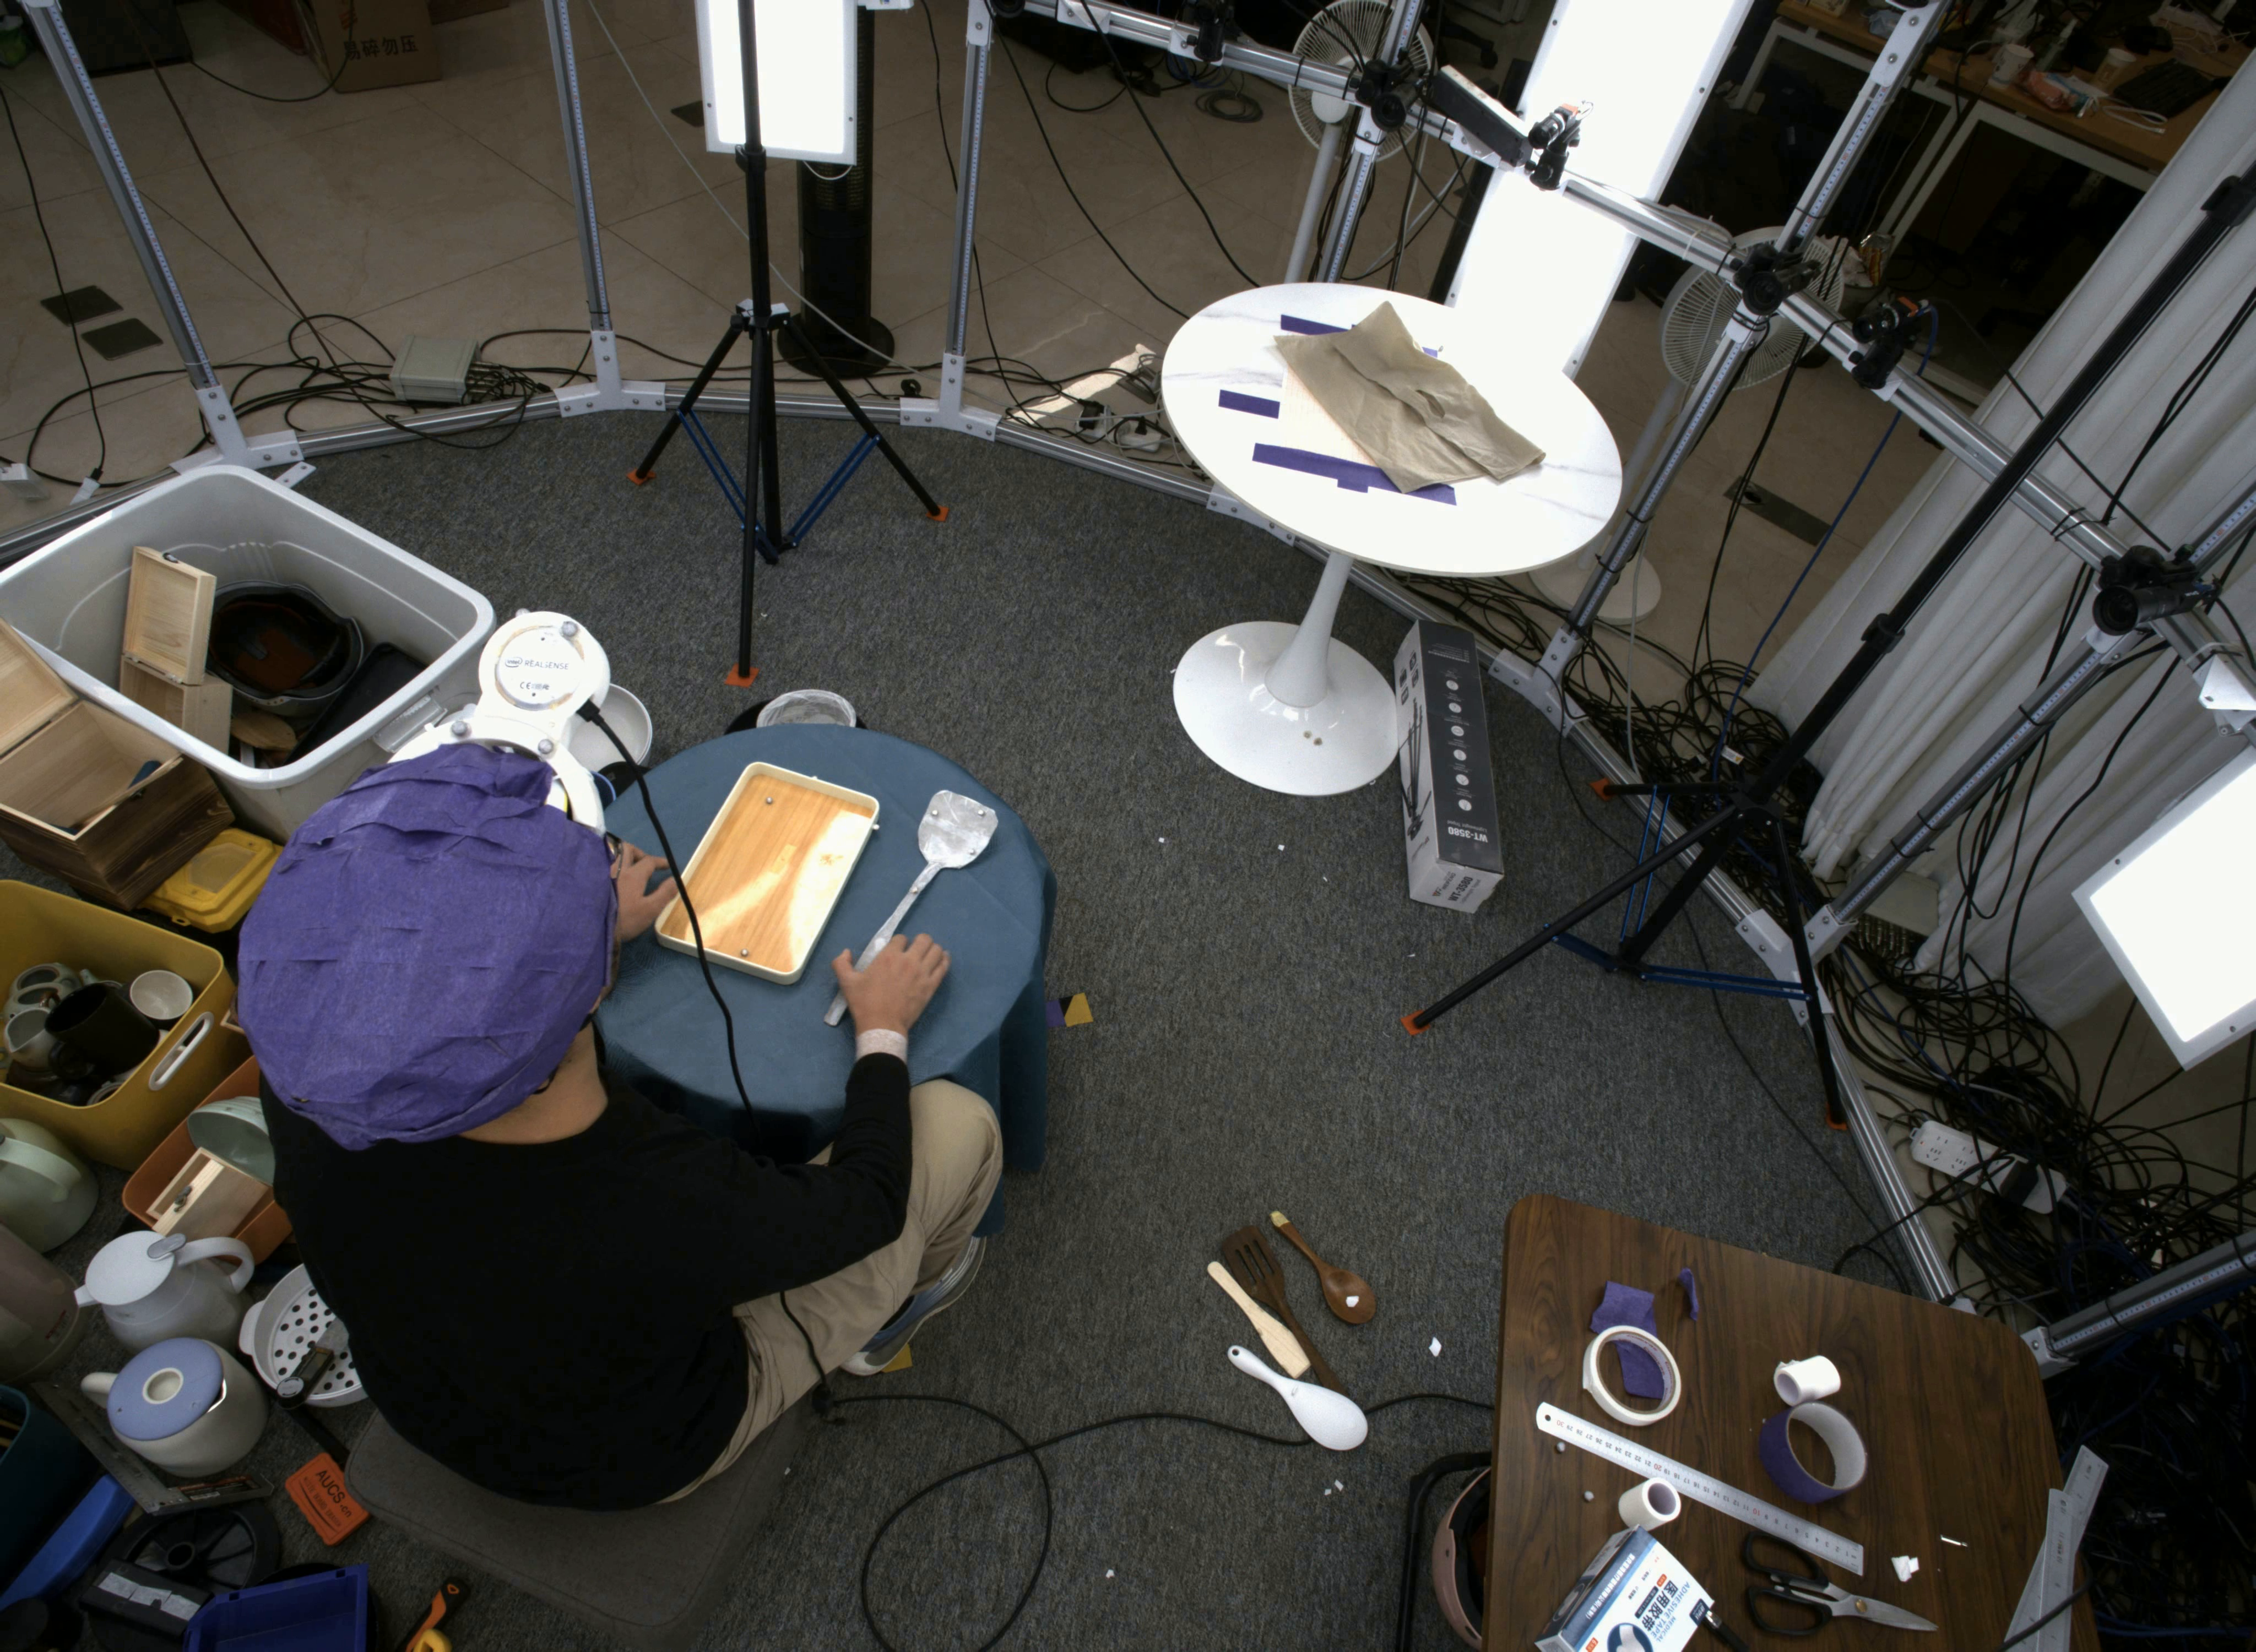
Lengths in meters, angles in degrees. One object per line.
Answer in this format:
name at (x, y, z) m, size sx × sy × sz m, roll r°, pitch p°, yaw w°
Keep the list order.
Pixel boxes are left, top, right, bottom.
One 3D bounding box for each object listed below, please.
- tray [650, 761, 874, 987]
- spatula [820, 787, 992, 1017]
tray at (-0.461, 0.053, 1.652) m, size 0.190 × 0.028 × 0.297 m, roll 18°, pitch 52°, yaw -1°
spatula at (-0.291, 0.094, 1.659) m, size 0.097 × 0.045 × 0.362 m, roll 25°, pitch 52°, yaw 5°
